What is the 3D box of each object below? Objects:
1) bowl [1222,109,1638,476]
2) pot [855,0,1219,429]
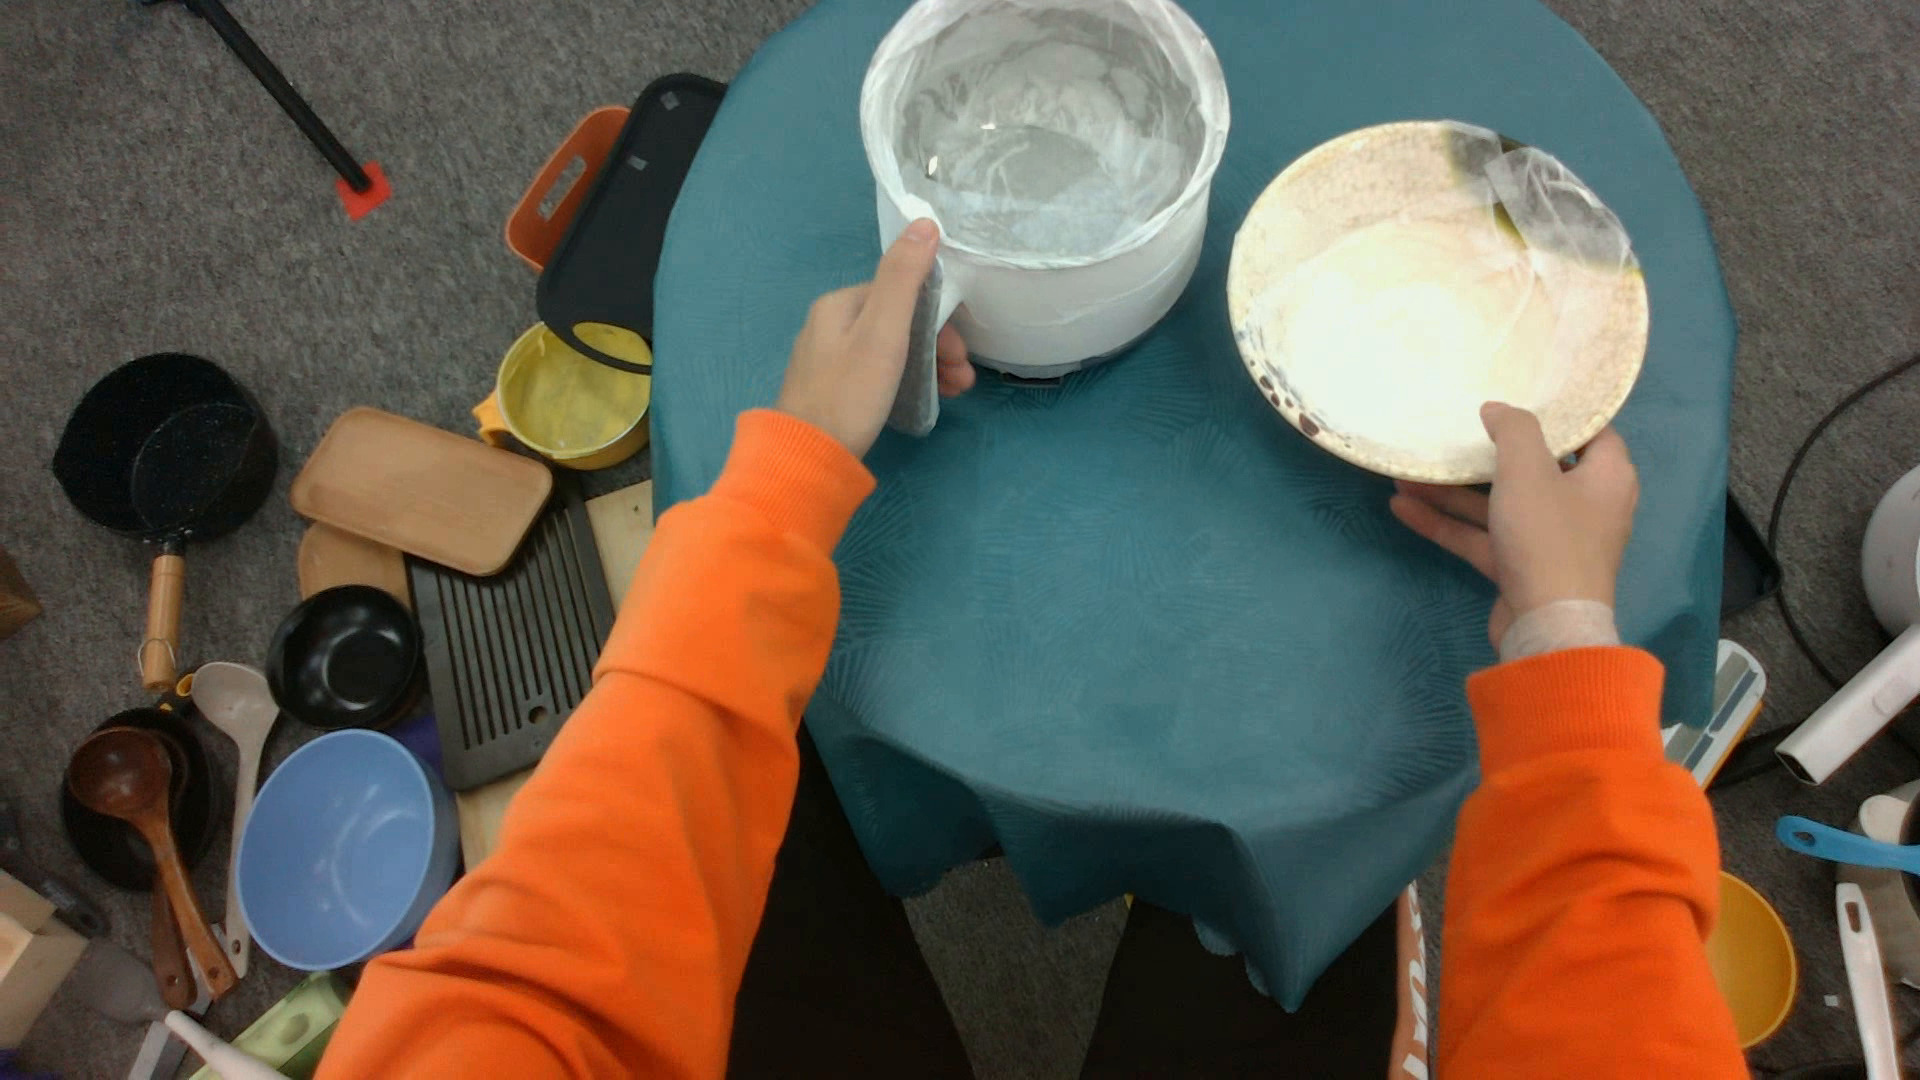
[{"bbox_3d":[0.236,-0.117,0.722,0.204,0.078,0.204,-1,72,2],"label":"bowl"},{"bbox_3d":[0.025,-0.169,0.716,0.179,0.136,0.234,29,74,13],"label":"pot"}]
